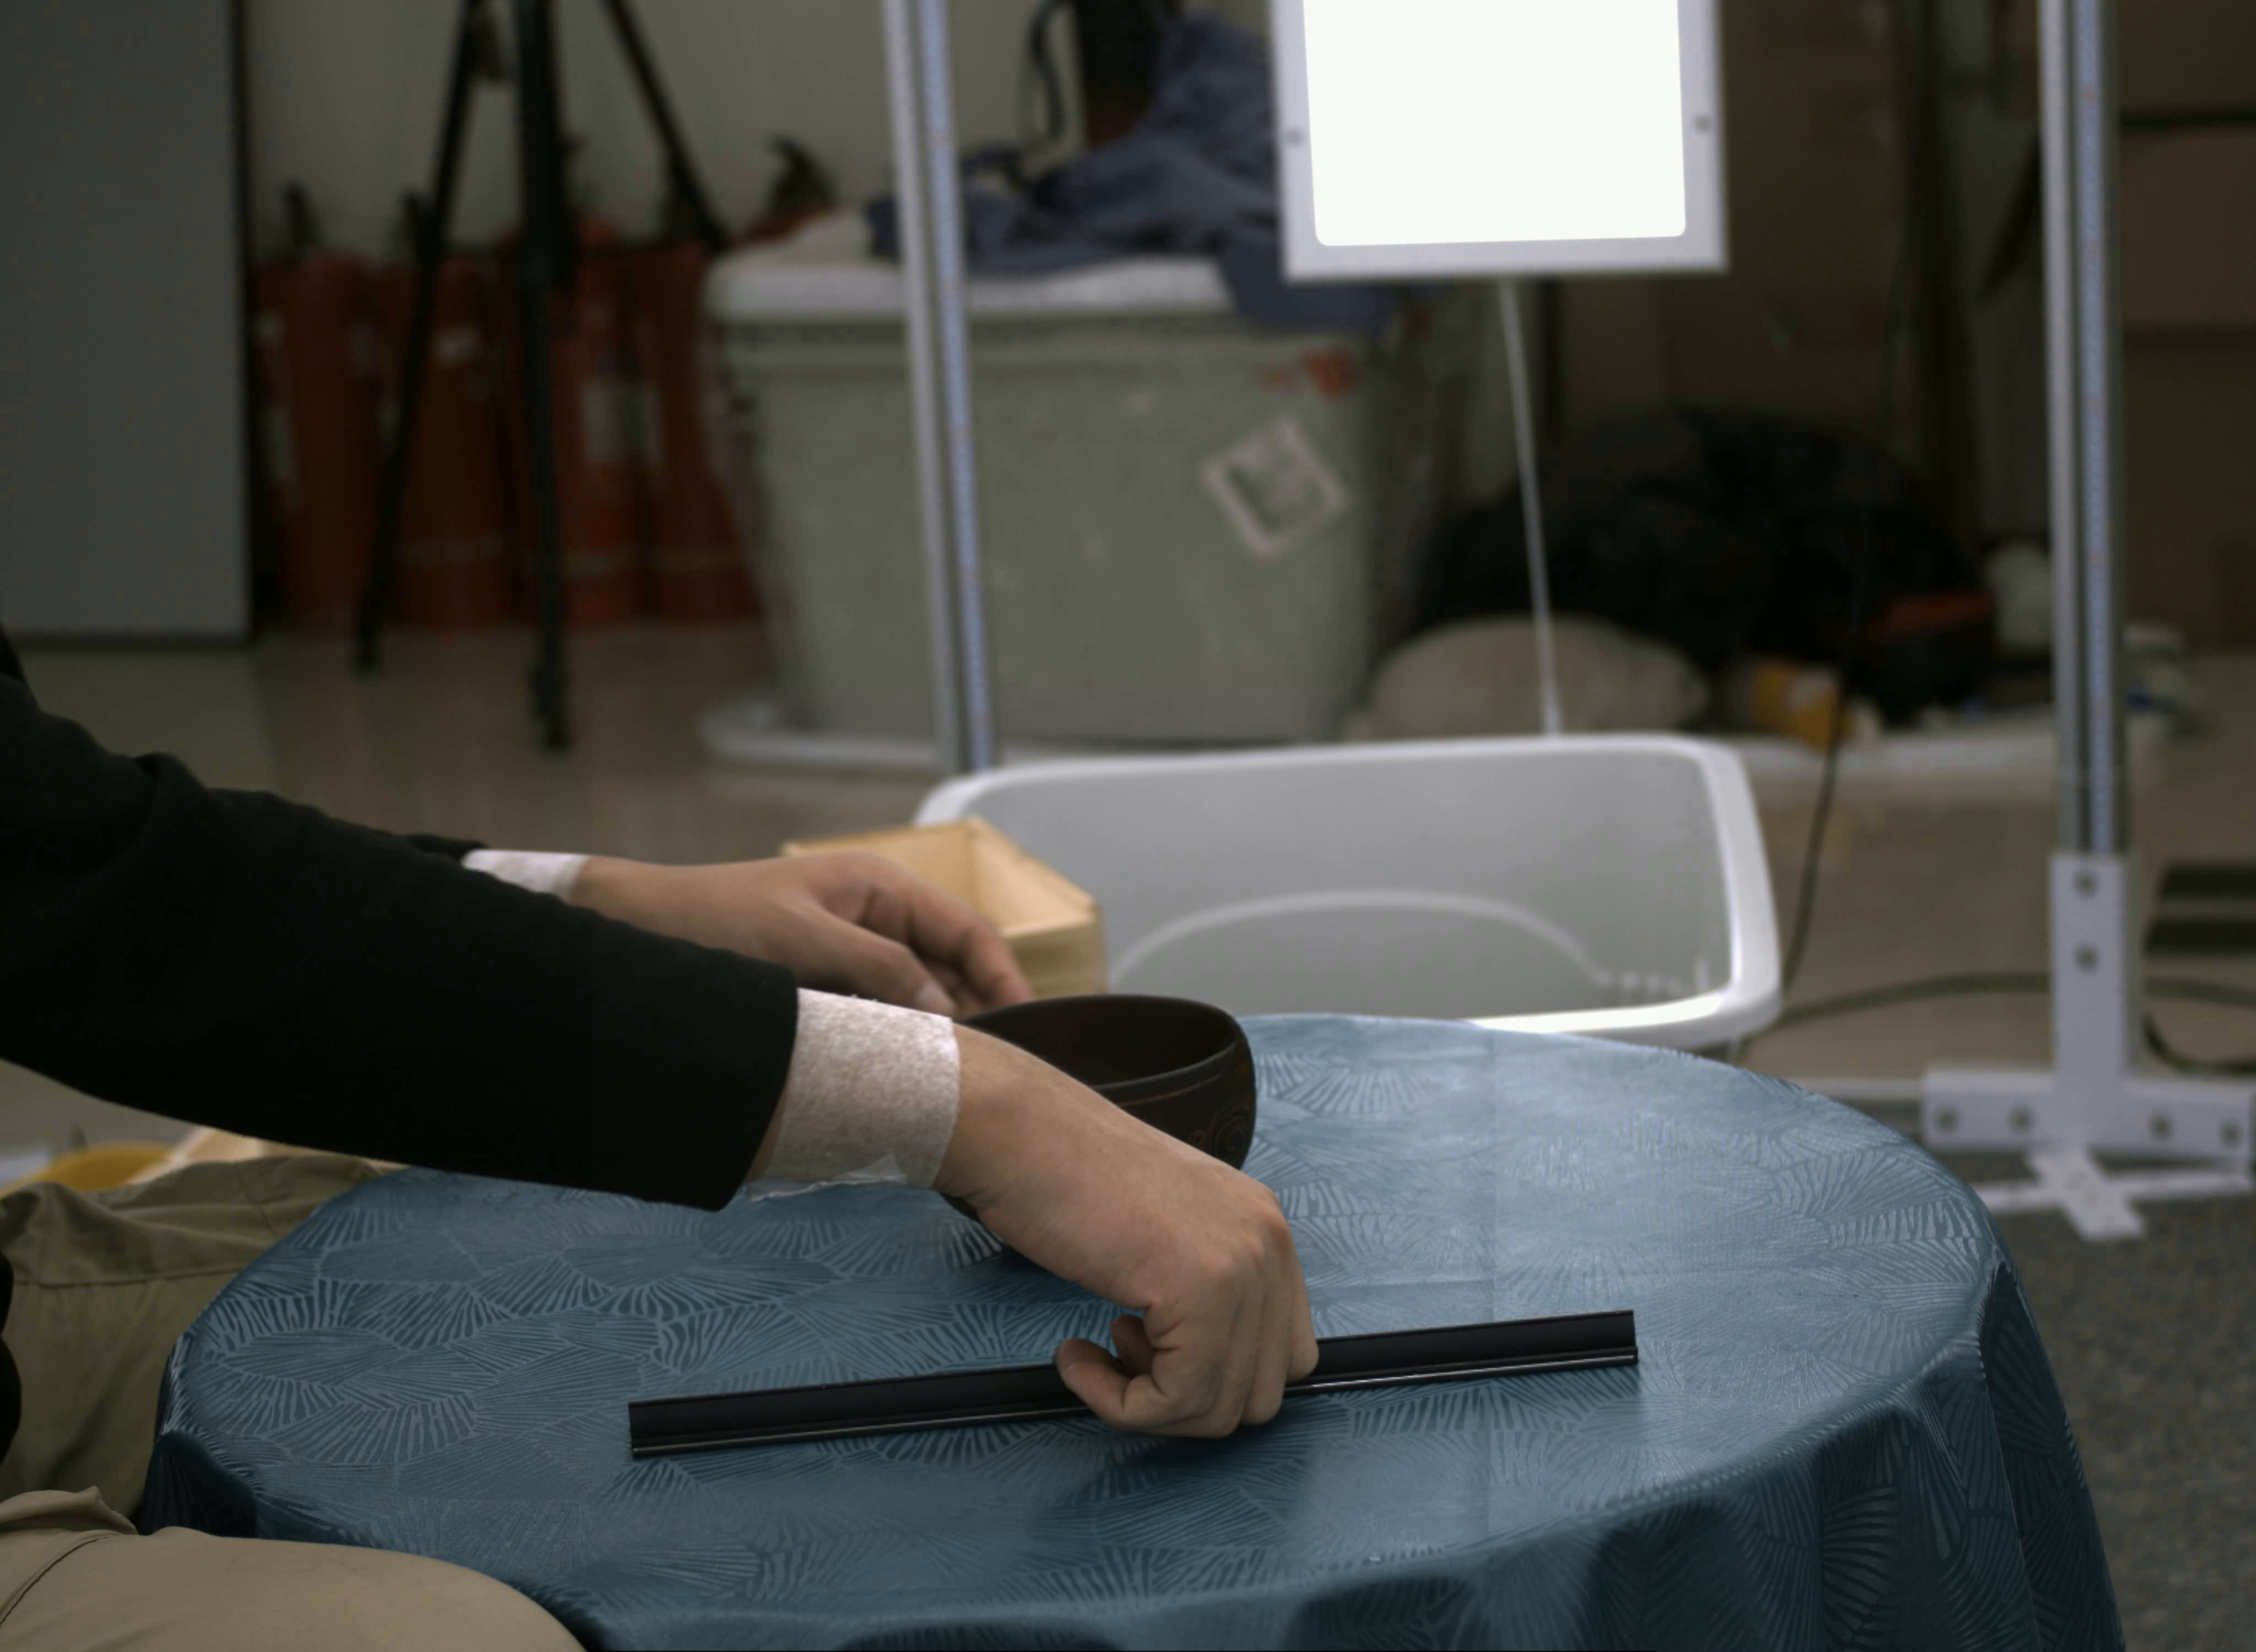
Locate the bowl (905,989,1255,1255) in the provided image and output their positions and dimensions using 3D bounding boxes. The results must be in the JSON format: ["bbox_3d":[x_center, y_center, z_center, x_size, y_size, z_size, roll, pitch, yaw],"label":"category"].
[{"bbox_3d":[-0.015,0.103,1.847,0.118,0.070,0.118,-4,13,0],"label":"bowl"}]

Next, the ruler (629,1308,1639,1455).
[{"bbox_3d":[0.001,0.167,1.701,0.311,0.017,0.039,-5,10,0],"label":"ruler"}]
